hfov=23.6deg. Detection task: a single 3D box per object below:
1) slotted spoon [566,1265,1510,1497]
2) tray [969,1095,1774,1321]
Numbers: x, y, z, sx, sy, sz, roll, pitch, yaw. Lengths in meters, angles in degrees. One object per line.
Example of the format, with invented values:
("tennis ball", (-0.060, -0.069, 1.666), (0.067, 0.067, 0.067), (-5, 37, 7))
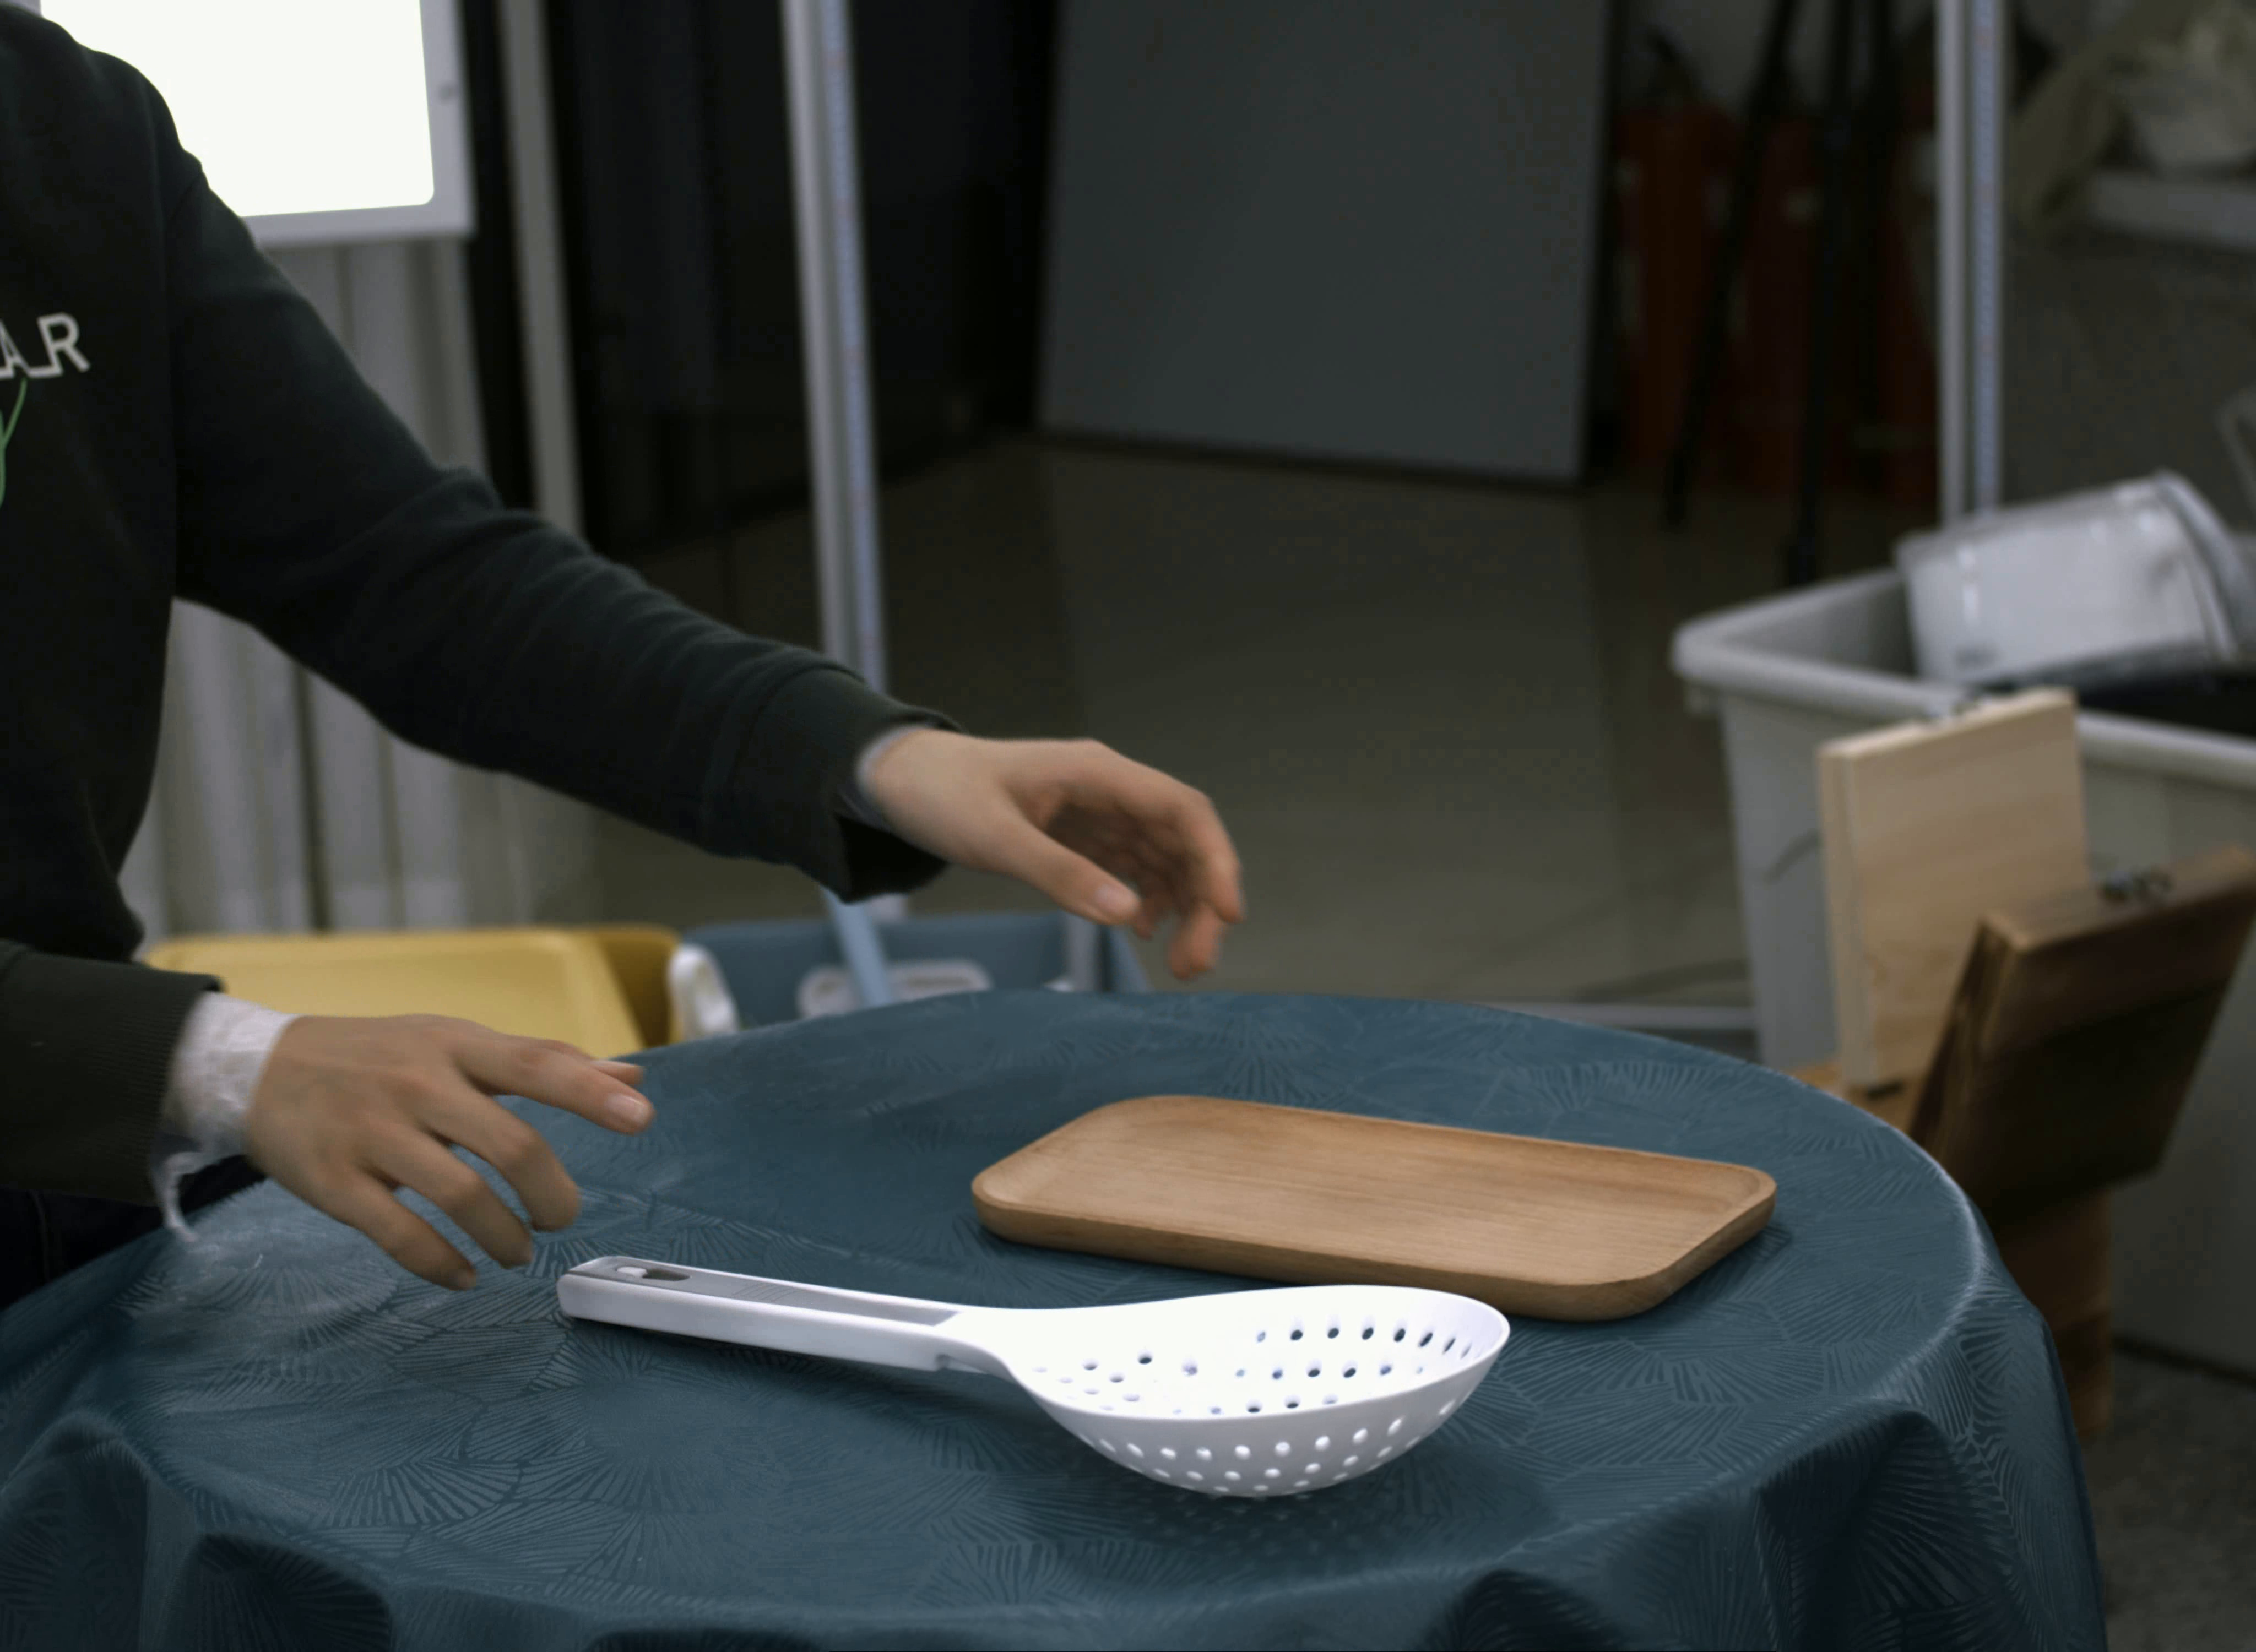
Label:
("slotted spoon", (-0.039, 0.150, 1.571), (0.353, 0.046, 0.133), (7, 15, 42))
("tray", (0.076, 0.120, 1.717), (0.252, 0.023, 0.128), (4, 14, 33))
